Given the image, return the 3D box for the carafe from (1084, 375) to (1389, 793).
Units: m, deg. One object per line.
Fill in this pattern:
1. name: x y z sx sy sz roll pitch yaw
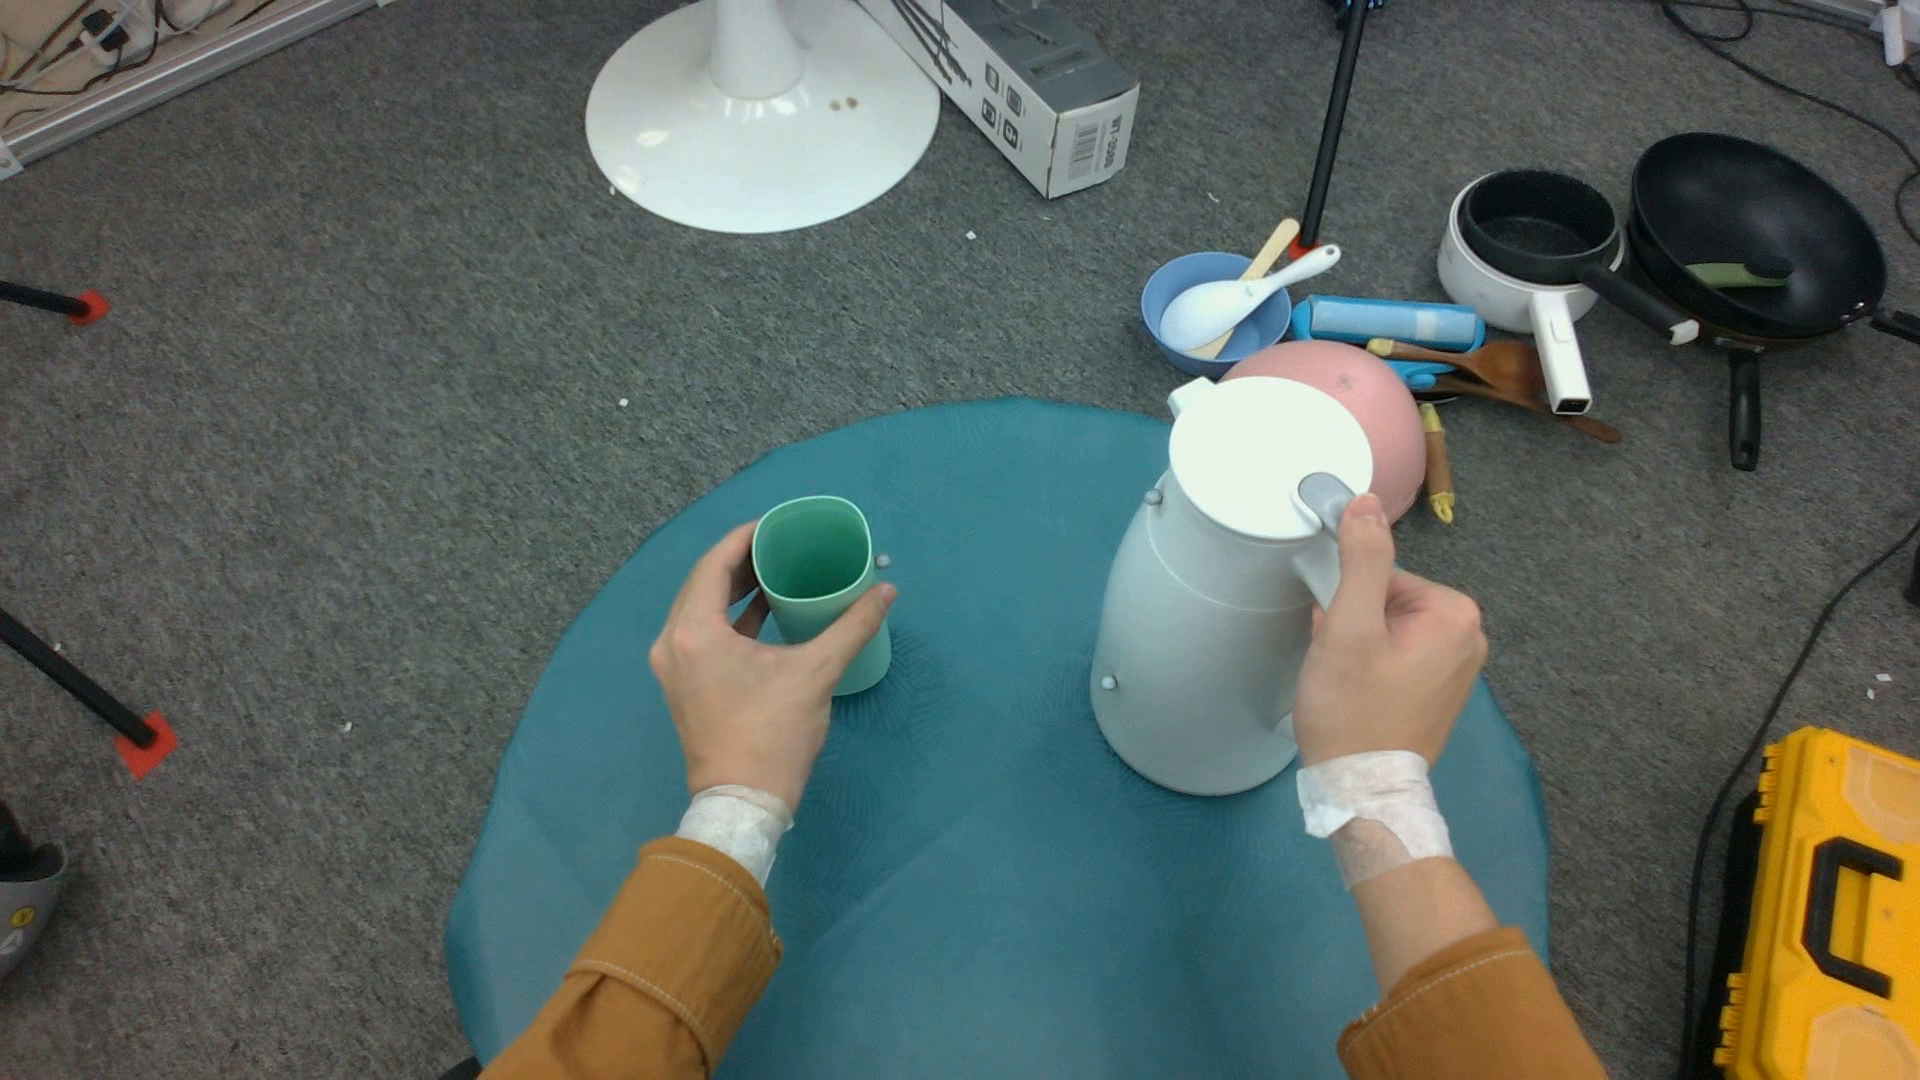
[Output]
1. carafe: 0.150 0.036 0.715 0.133 0.247 0.168 -28 61 -17

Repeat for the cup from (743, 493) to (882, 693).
1. cup: -0.080 0.034 0.777 0.067 0.132 0.067 -1 61 2
